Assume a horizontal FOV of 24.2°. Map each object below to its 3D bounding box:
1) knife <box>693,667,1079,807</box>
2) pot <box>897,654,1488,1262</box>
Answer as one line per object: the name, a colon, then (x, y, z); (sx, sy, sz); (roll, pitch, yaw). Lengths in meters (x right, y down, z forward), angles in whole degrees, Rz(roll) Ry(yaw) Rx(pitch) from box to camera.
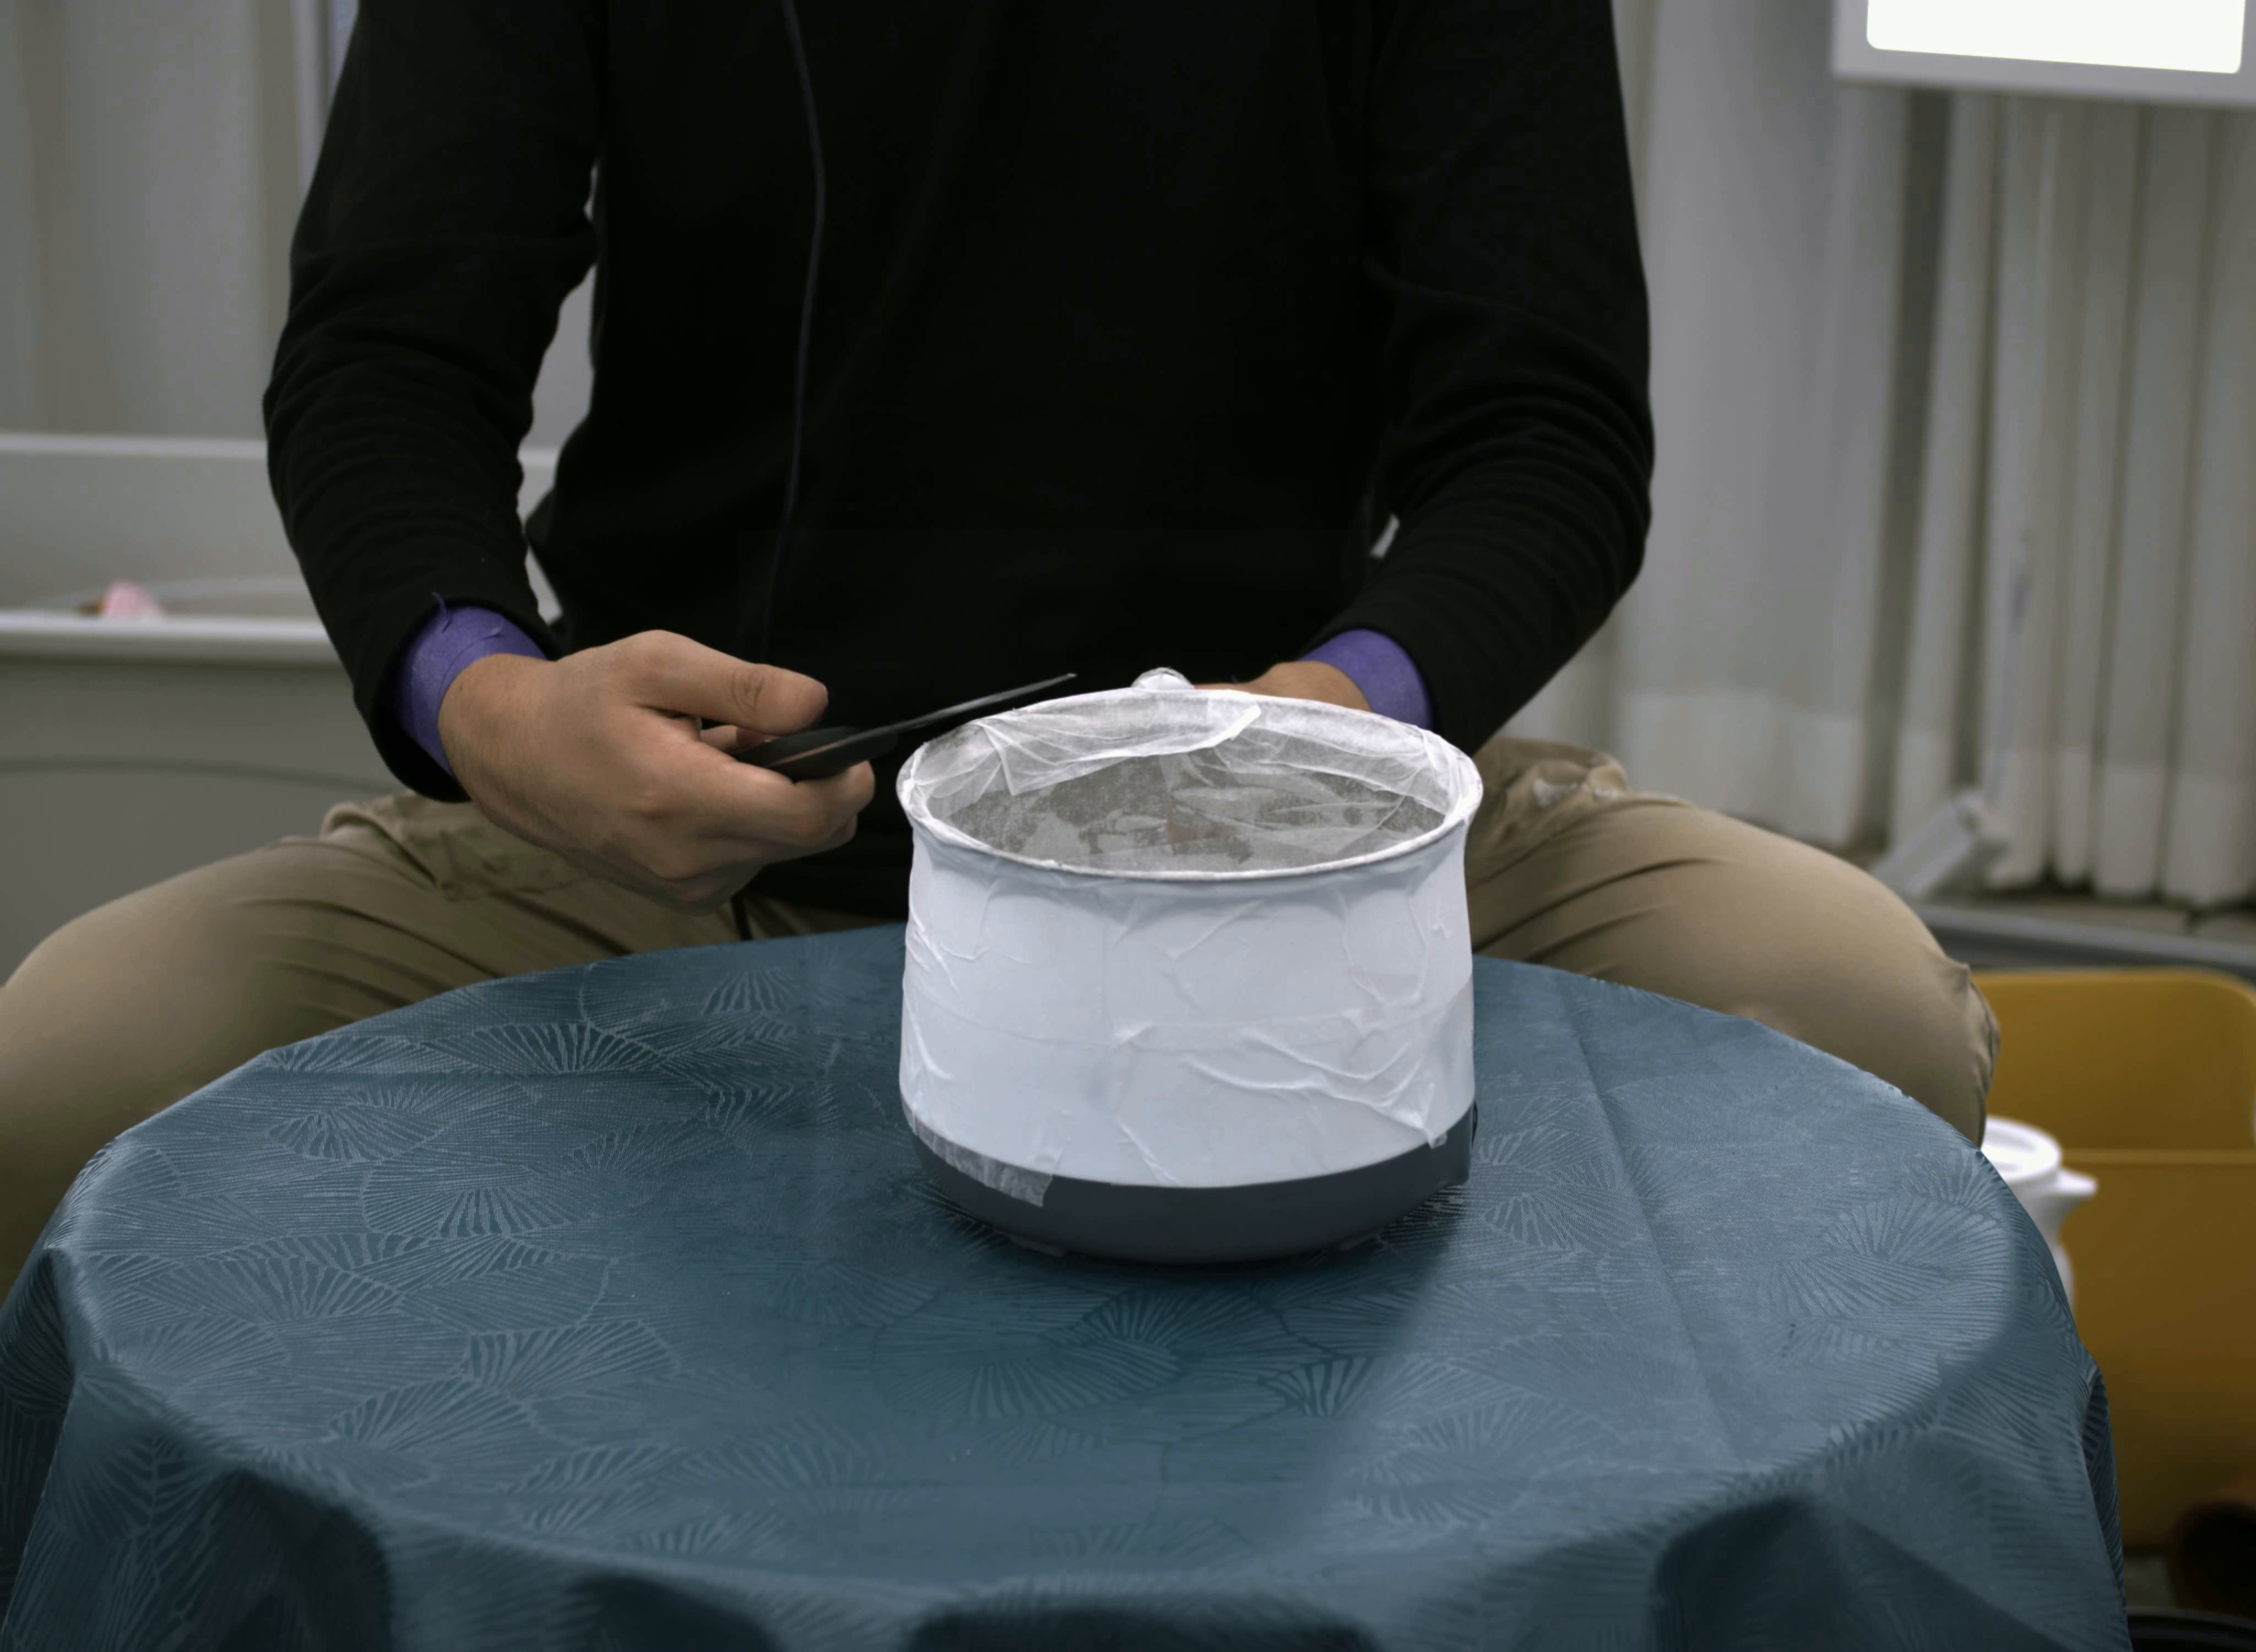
knife: (-0.079, -0.029, 1.644); (0.024, 0.016, 0.236); (-12, -2, -33)
pot: (0.015, 0.034, 1.622); (0.178, 0.138, 0.232); (-1, 20, -6)
